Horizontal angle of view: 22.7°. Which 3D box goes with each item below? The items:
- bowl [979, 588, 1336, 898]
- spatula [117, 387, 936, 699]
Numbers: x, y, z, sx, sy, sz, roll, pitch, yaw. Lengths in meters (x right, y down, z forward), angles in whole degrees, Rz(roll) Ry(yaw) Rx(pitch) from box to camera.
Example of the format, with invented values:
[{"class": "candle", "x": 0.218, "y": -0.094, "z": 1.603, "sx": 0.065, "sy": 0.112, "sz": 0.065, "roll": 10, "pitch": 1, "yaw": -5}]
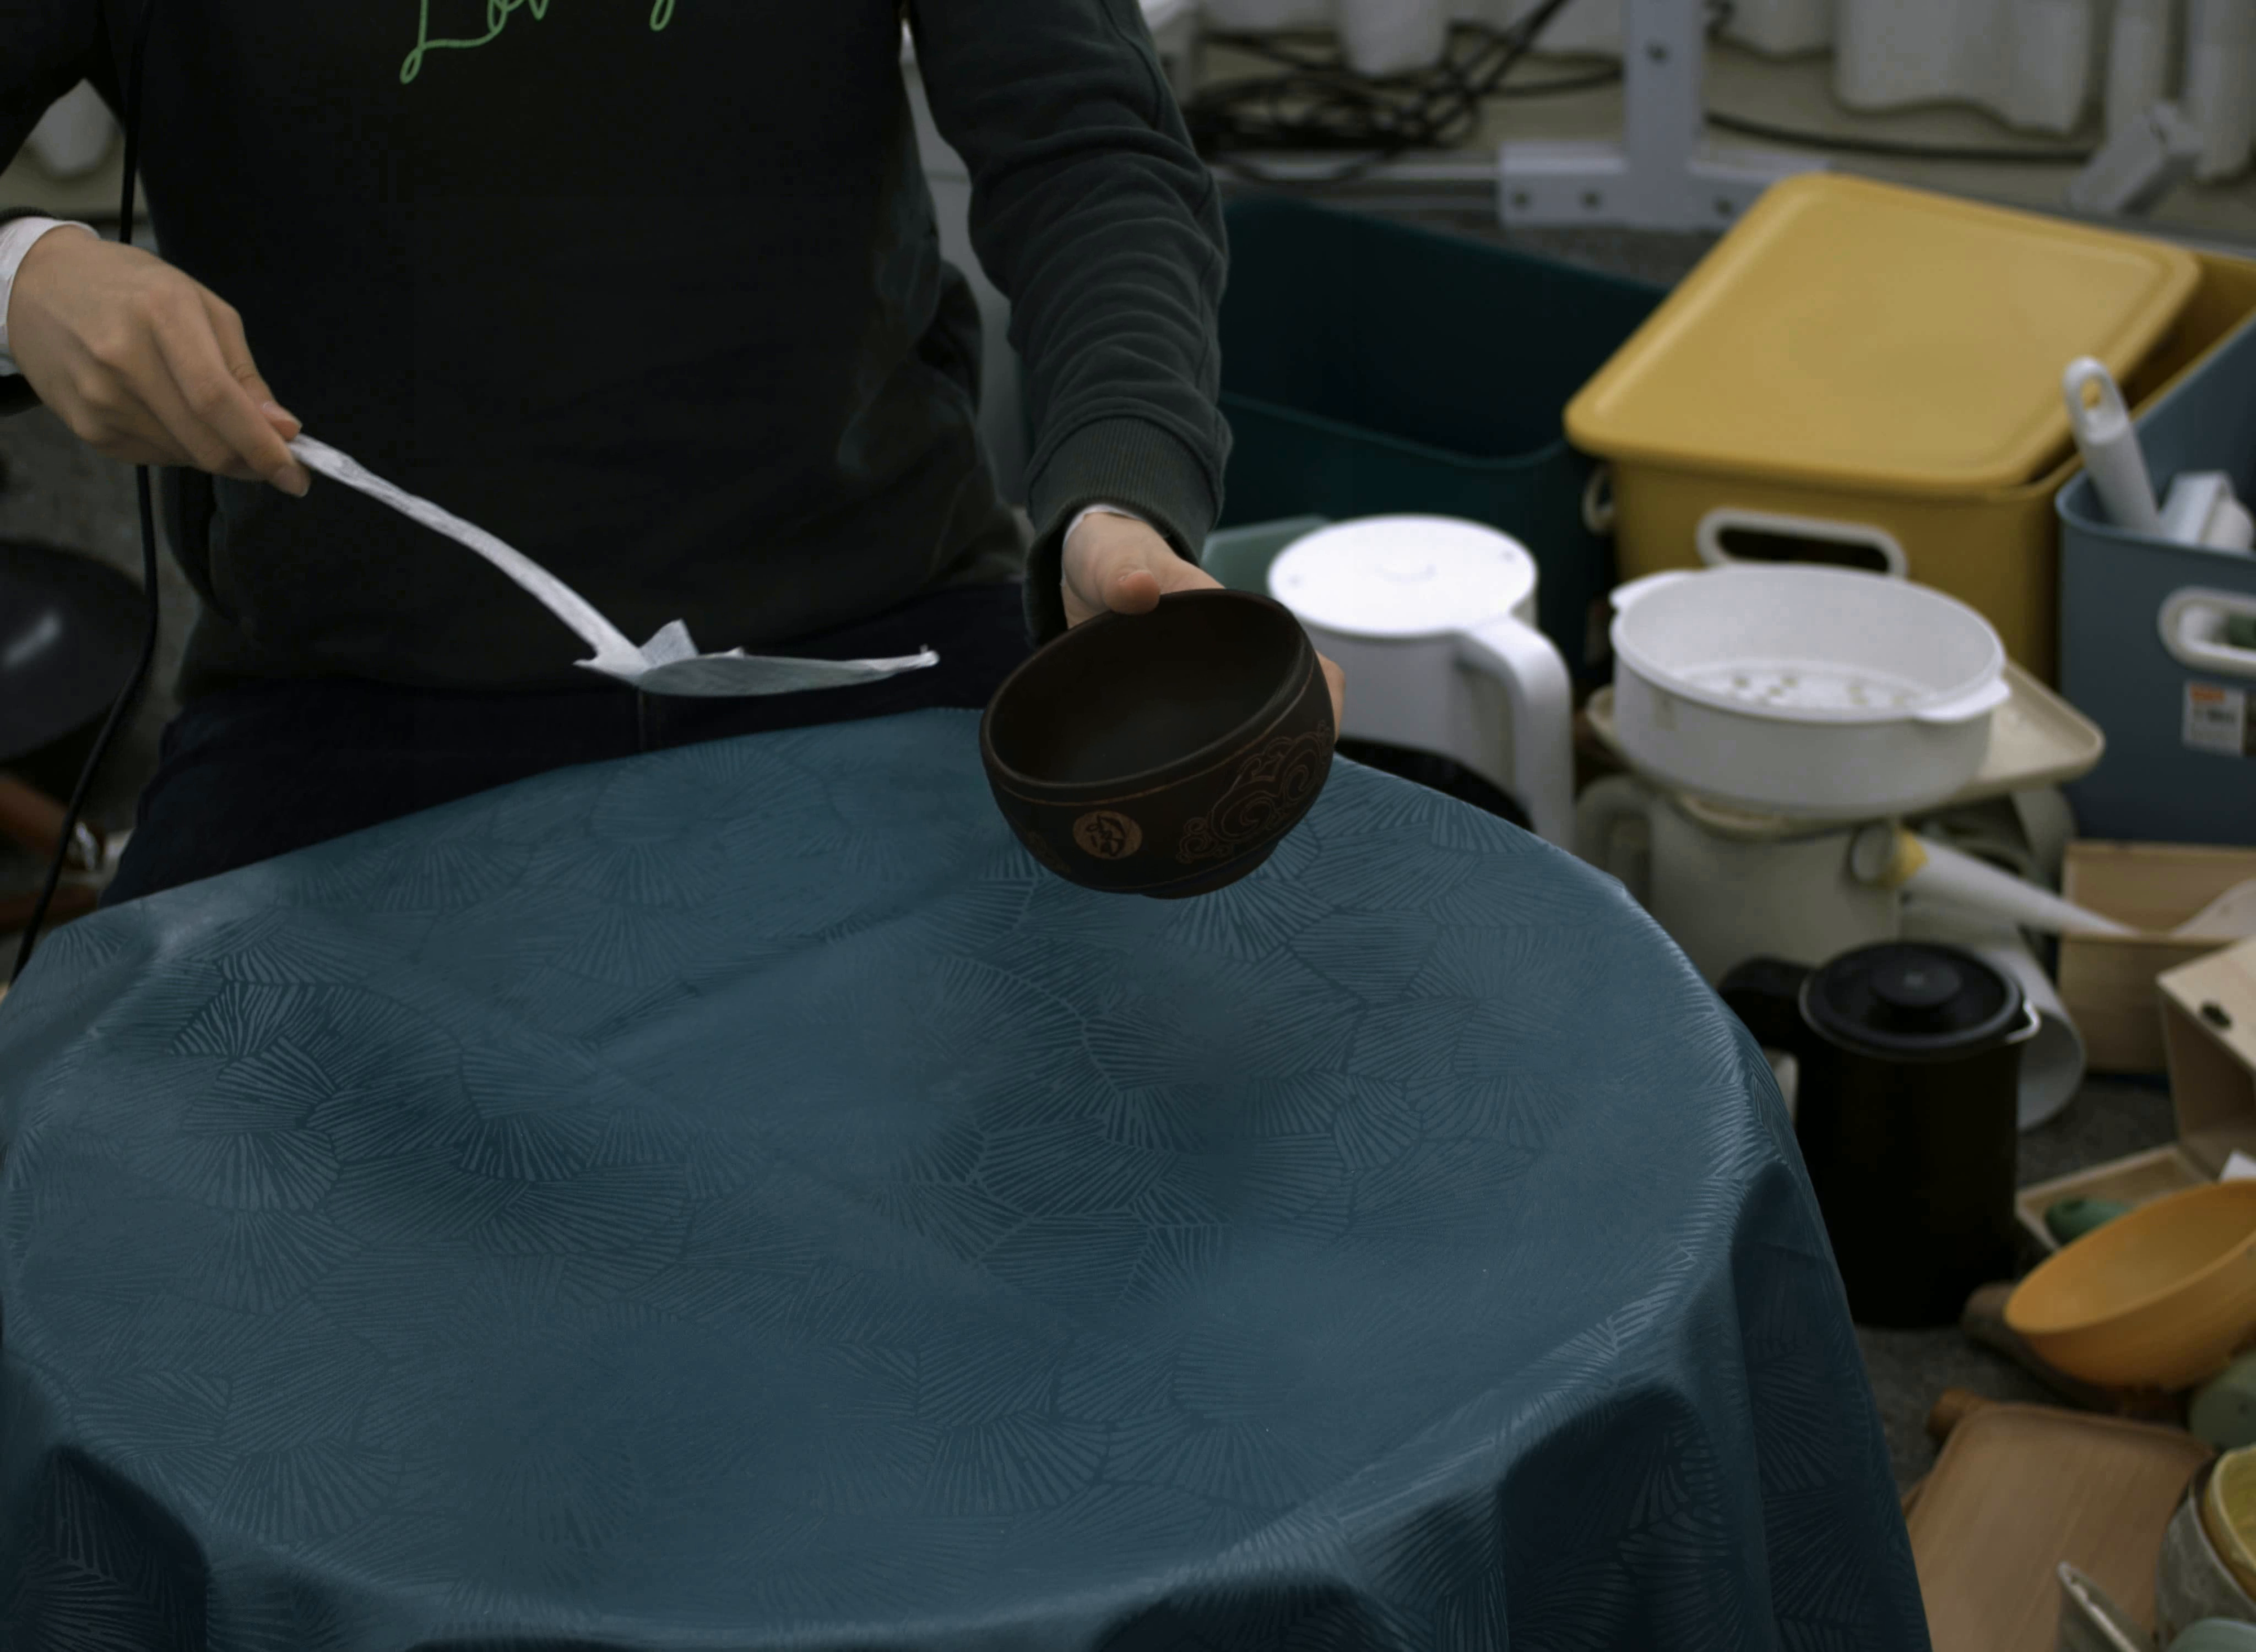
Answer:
[{"class": "bowl", "x": 0.015, "y": -0.020, "z": 1.880, "sx": 0.117, "sy": 0.069, "sz": 0.120, "roll": -15, "pitch": 28, "yaw": 9}, {"class": "spatula", "x": -0.216, "y": -0.099, "z": 1.830, "sx": 0.365, "sy": 0.044, "sz": 0.099, "roll": 28, "pitch": 20, "yaw": 36}]
